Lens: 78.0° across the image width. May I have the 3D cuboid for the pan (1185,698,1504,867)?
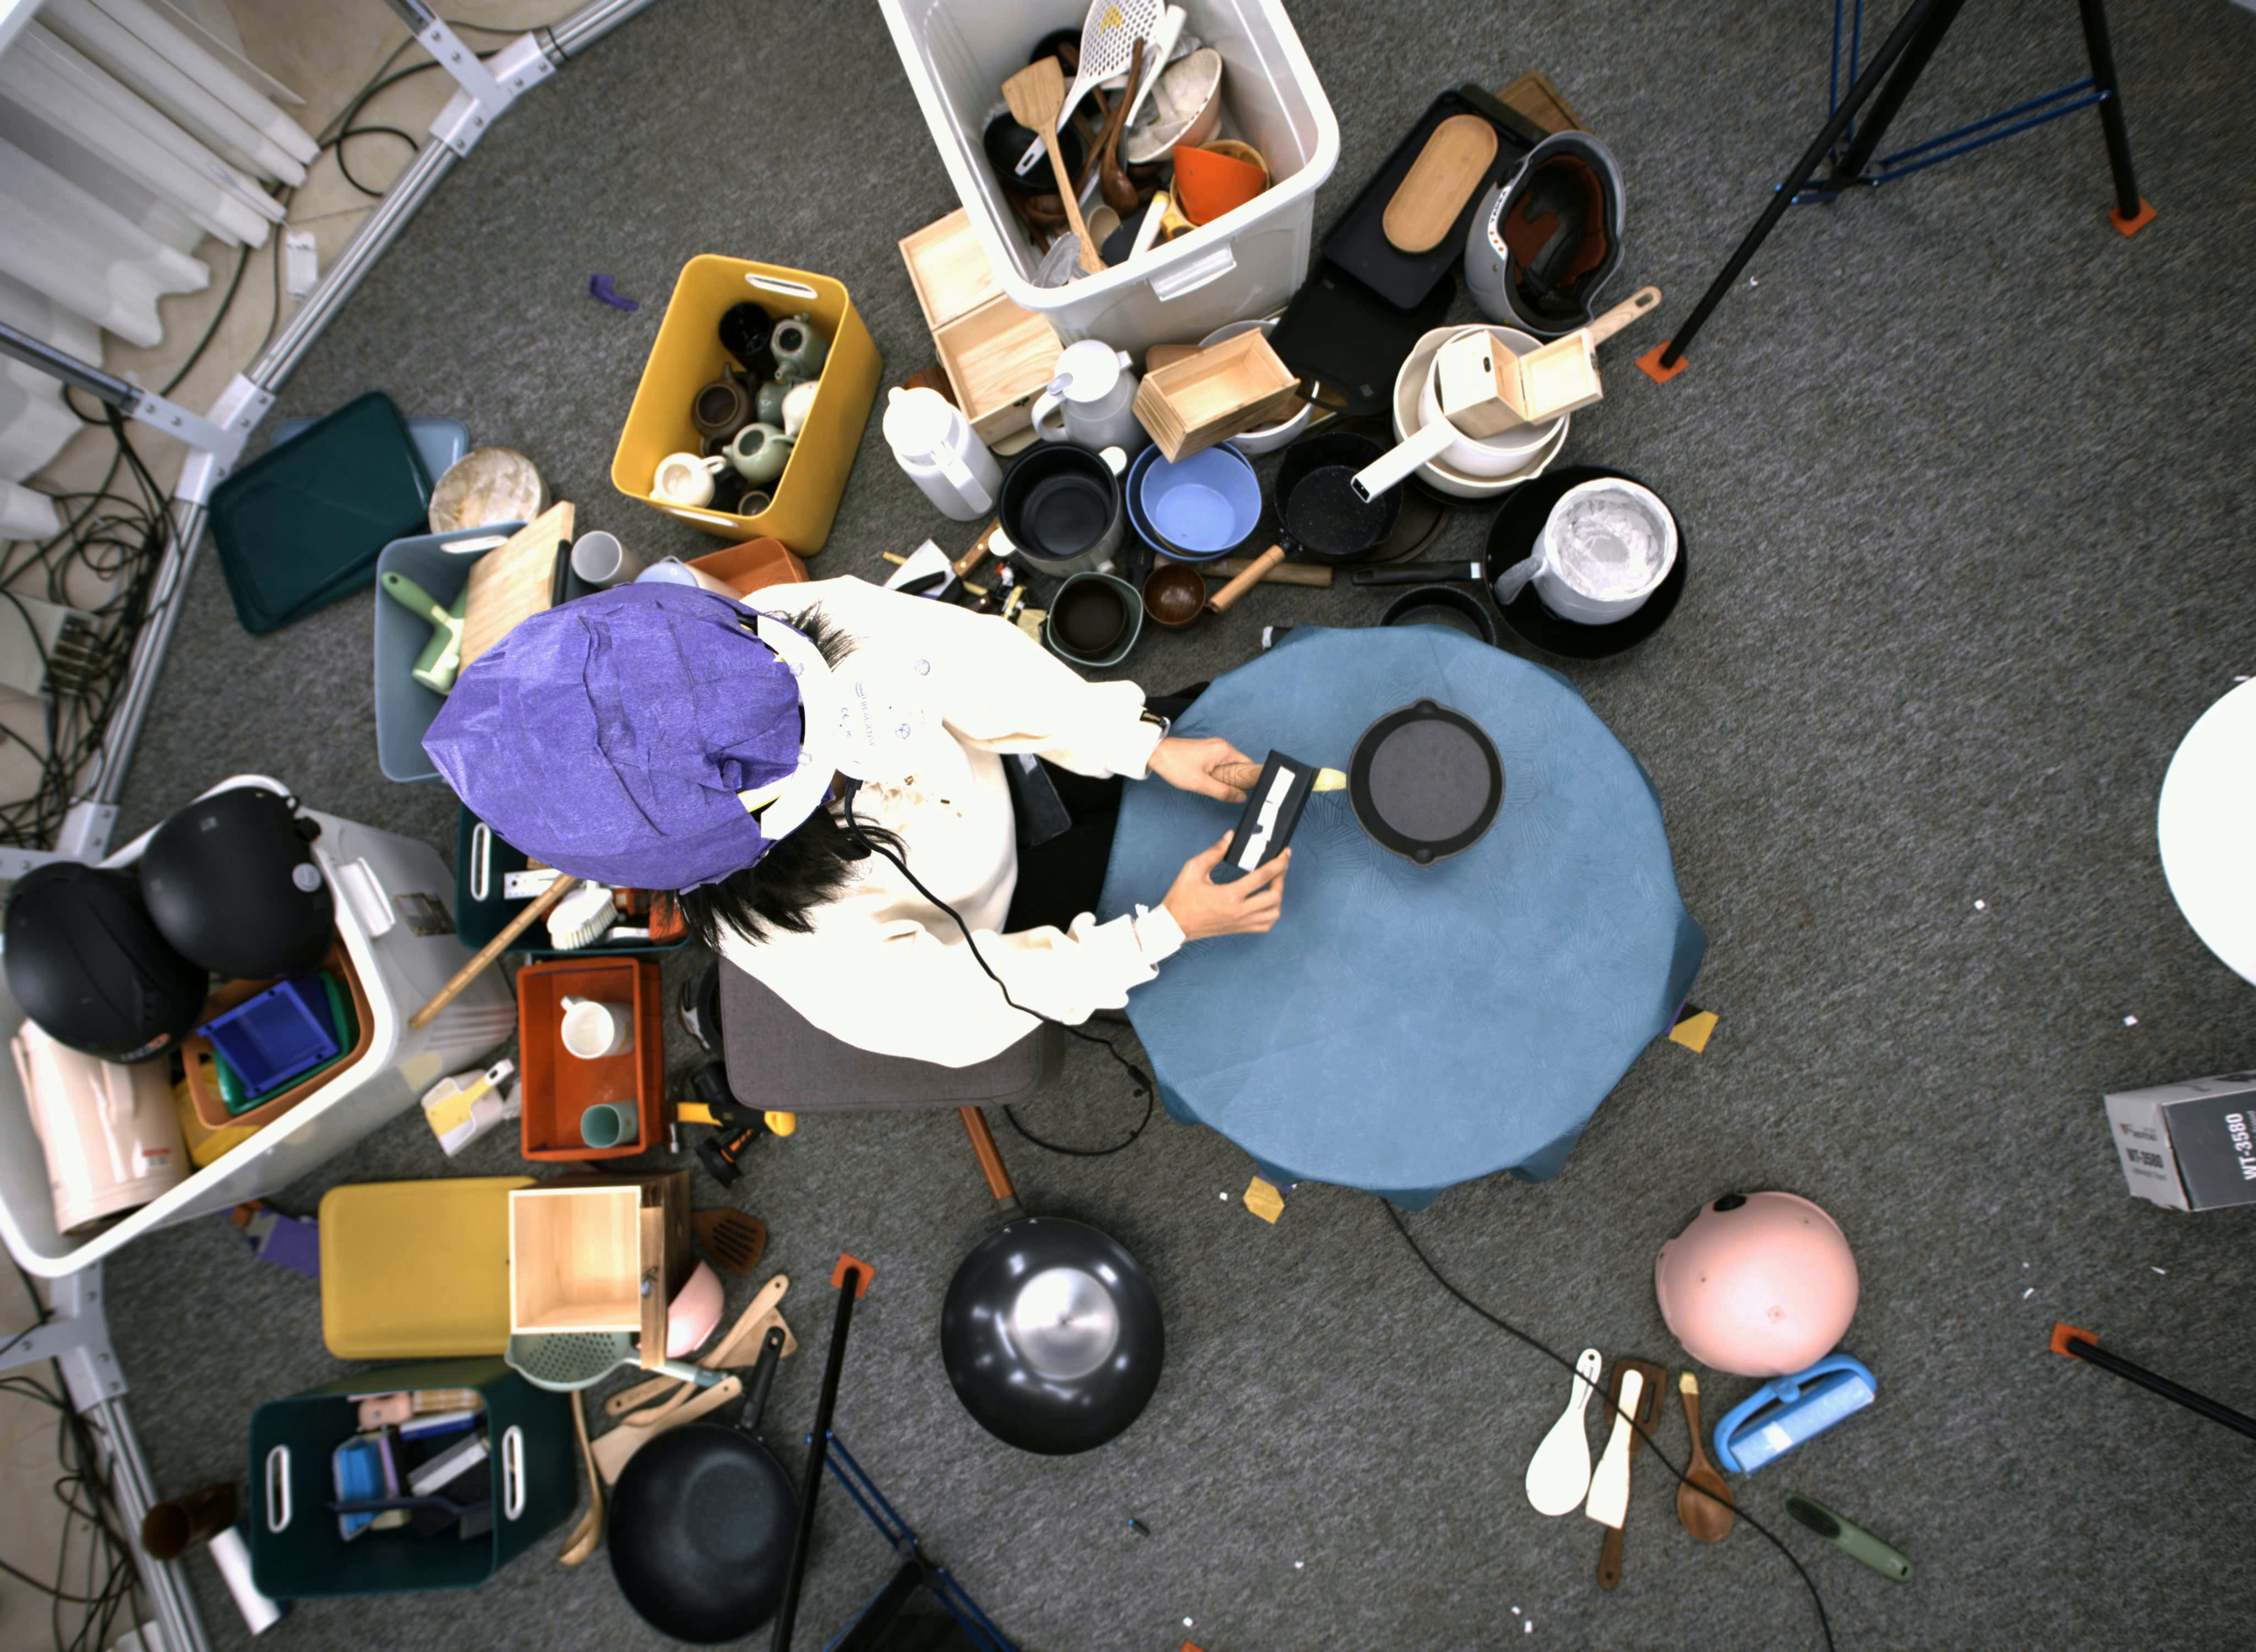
[{"bbox_3d":[0.217,-0.051,1.398,0.325,0.049,0.170,5,101,21],"label":"pan"}]

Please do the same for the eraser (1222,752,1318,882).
[{"bbox_3d":[0.144,-0.010,1.398,0.053,0.030,0.127,27,106,16],"label":"eraser"}]
